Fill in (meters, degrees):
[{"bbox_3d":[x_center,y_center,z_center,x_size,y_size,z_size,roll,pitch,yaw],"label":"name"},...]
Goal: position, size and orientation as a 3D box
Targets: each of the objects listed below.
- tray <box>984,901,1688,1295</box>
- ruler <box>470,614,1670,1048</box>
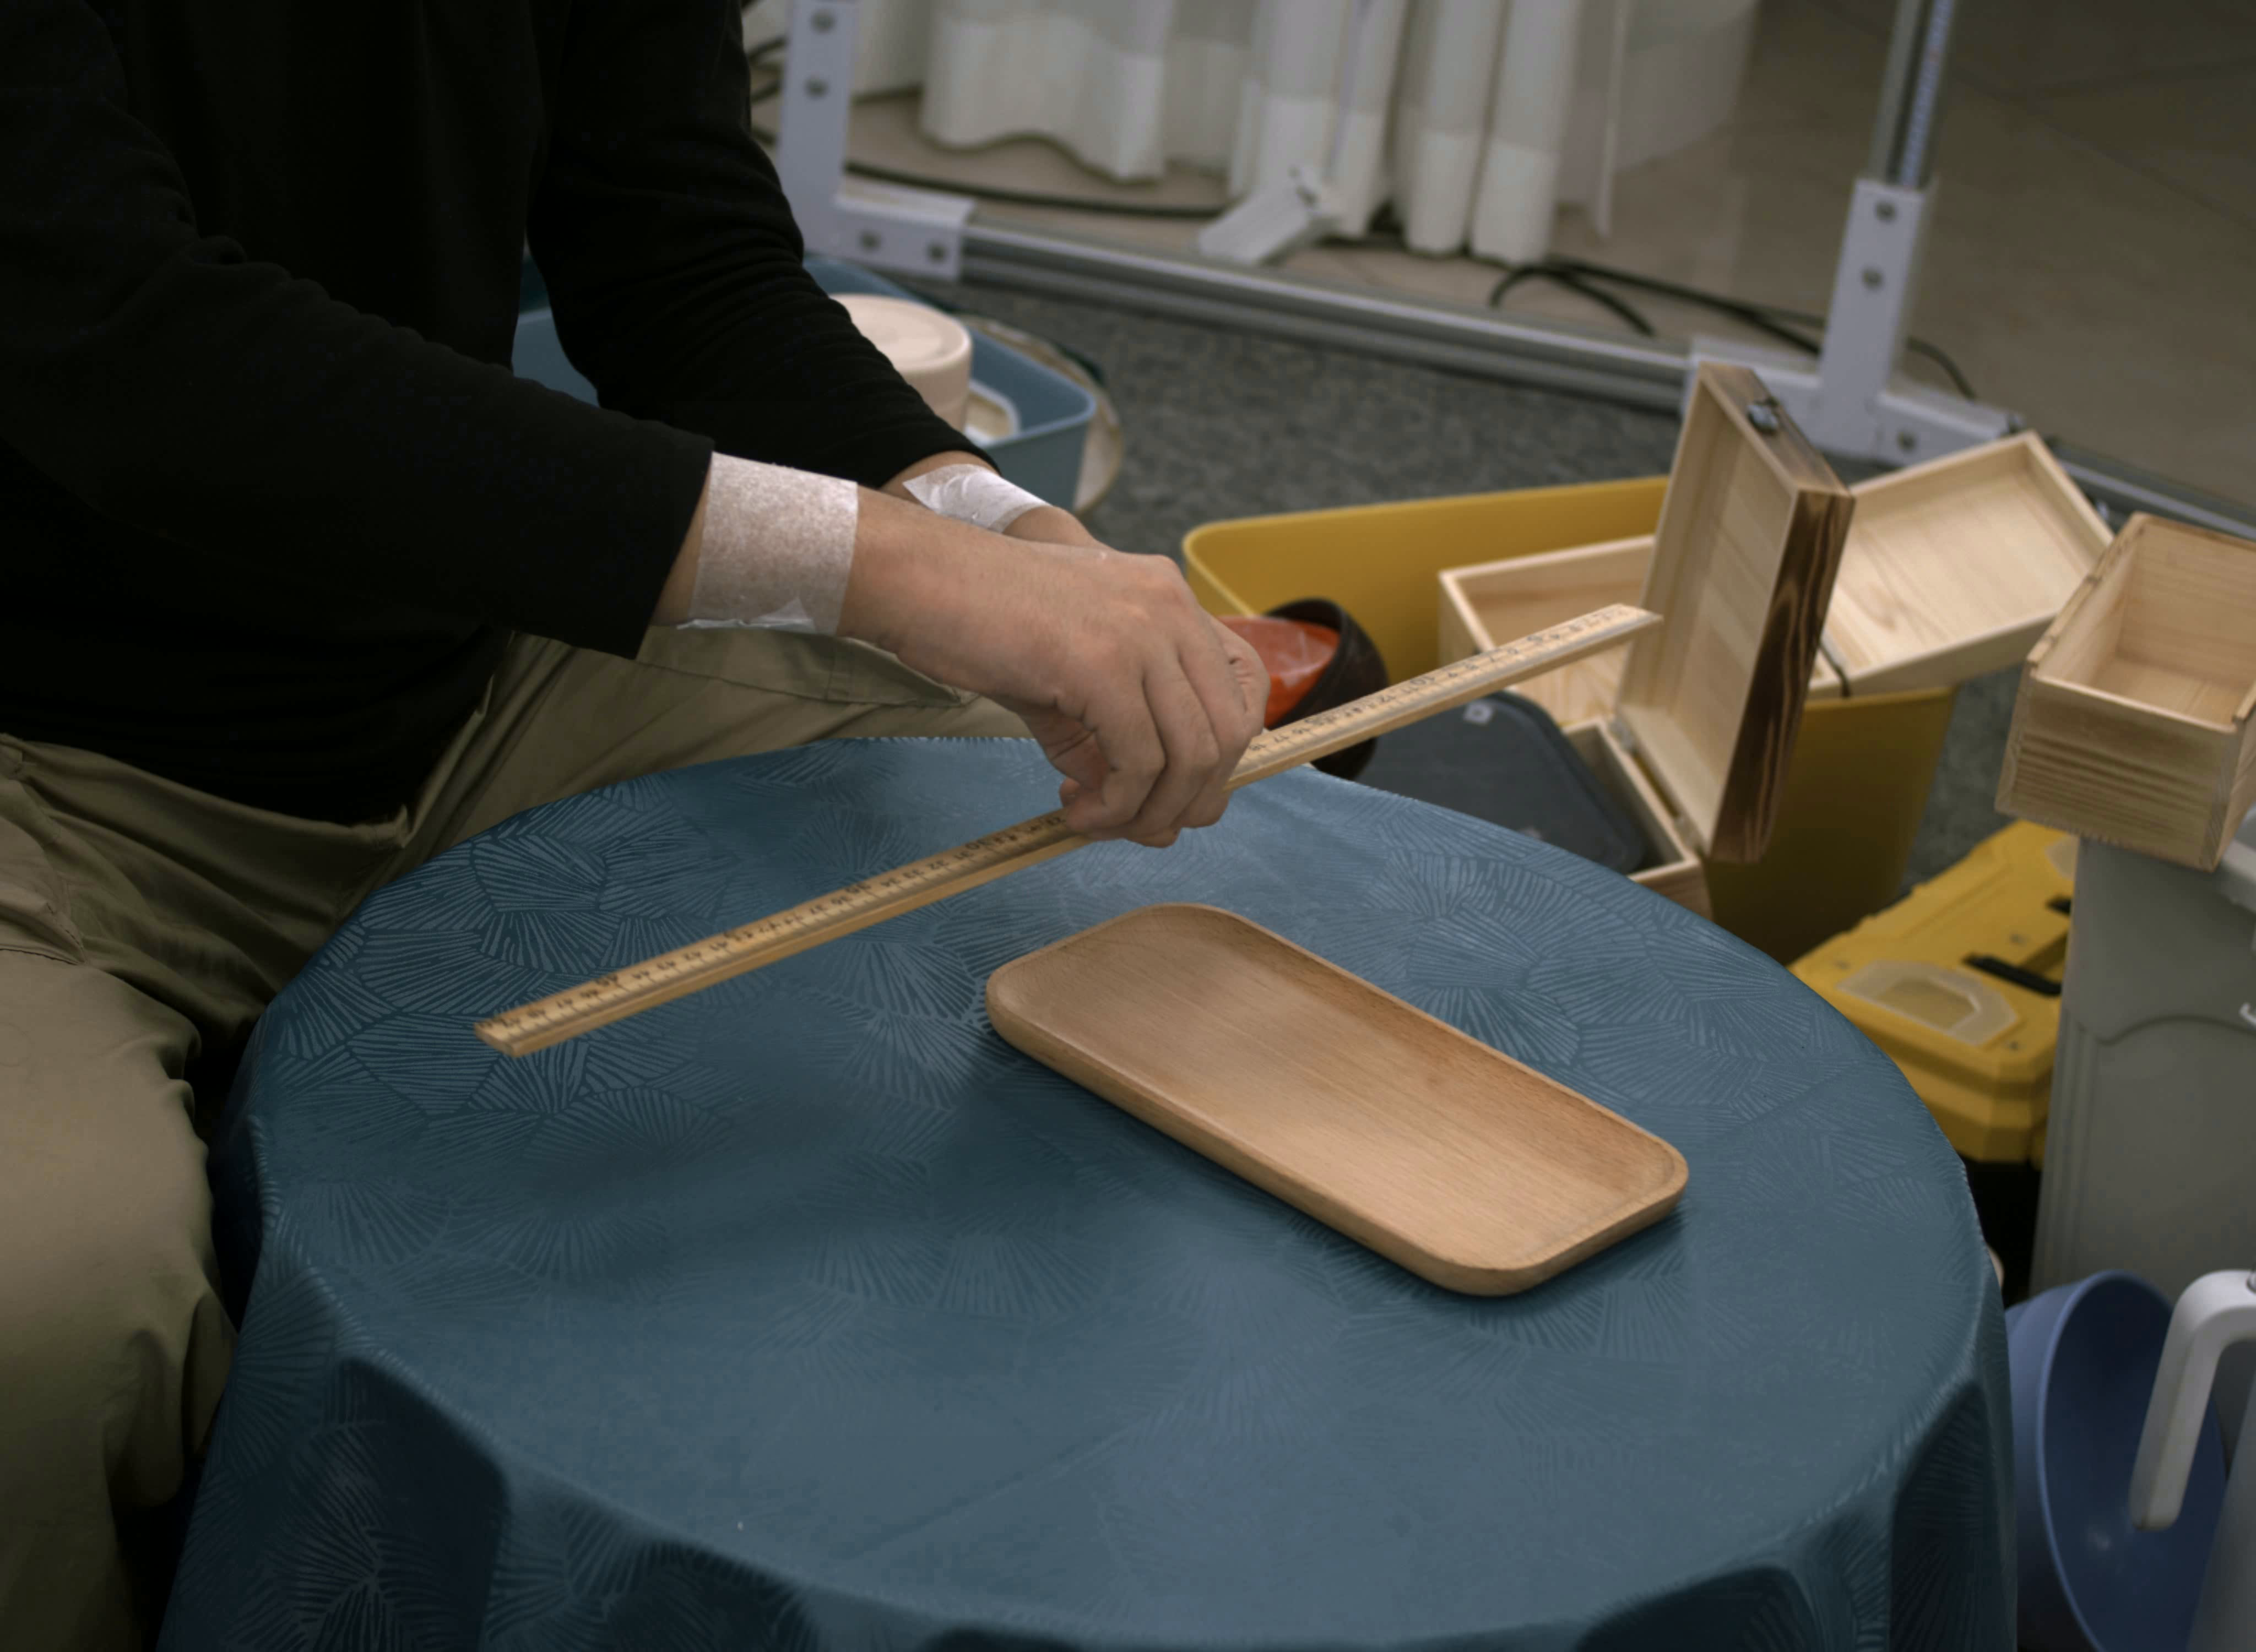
[{"bbox_3d":[0.070,0.093,1.861,0.252,0.023,0.130,27,31,37],"label":"tray"},{"bbox_3d":[-0.007,-0.004,1.830,0.498,0.006,0.027,-20,22,-32],"label":"ruler"}]
